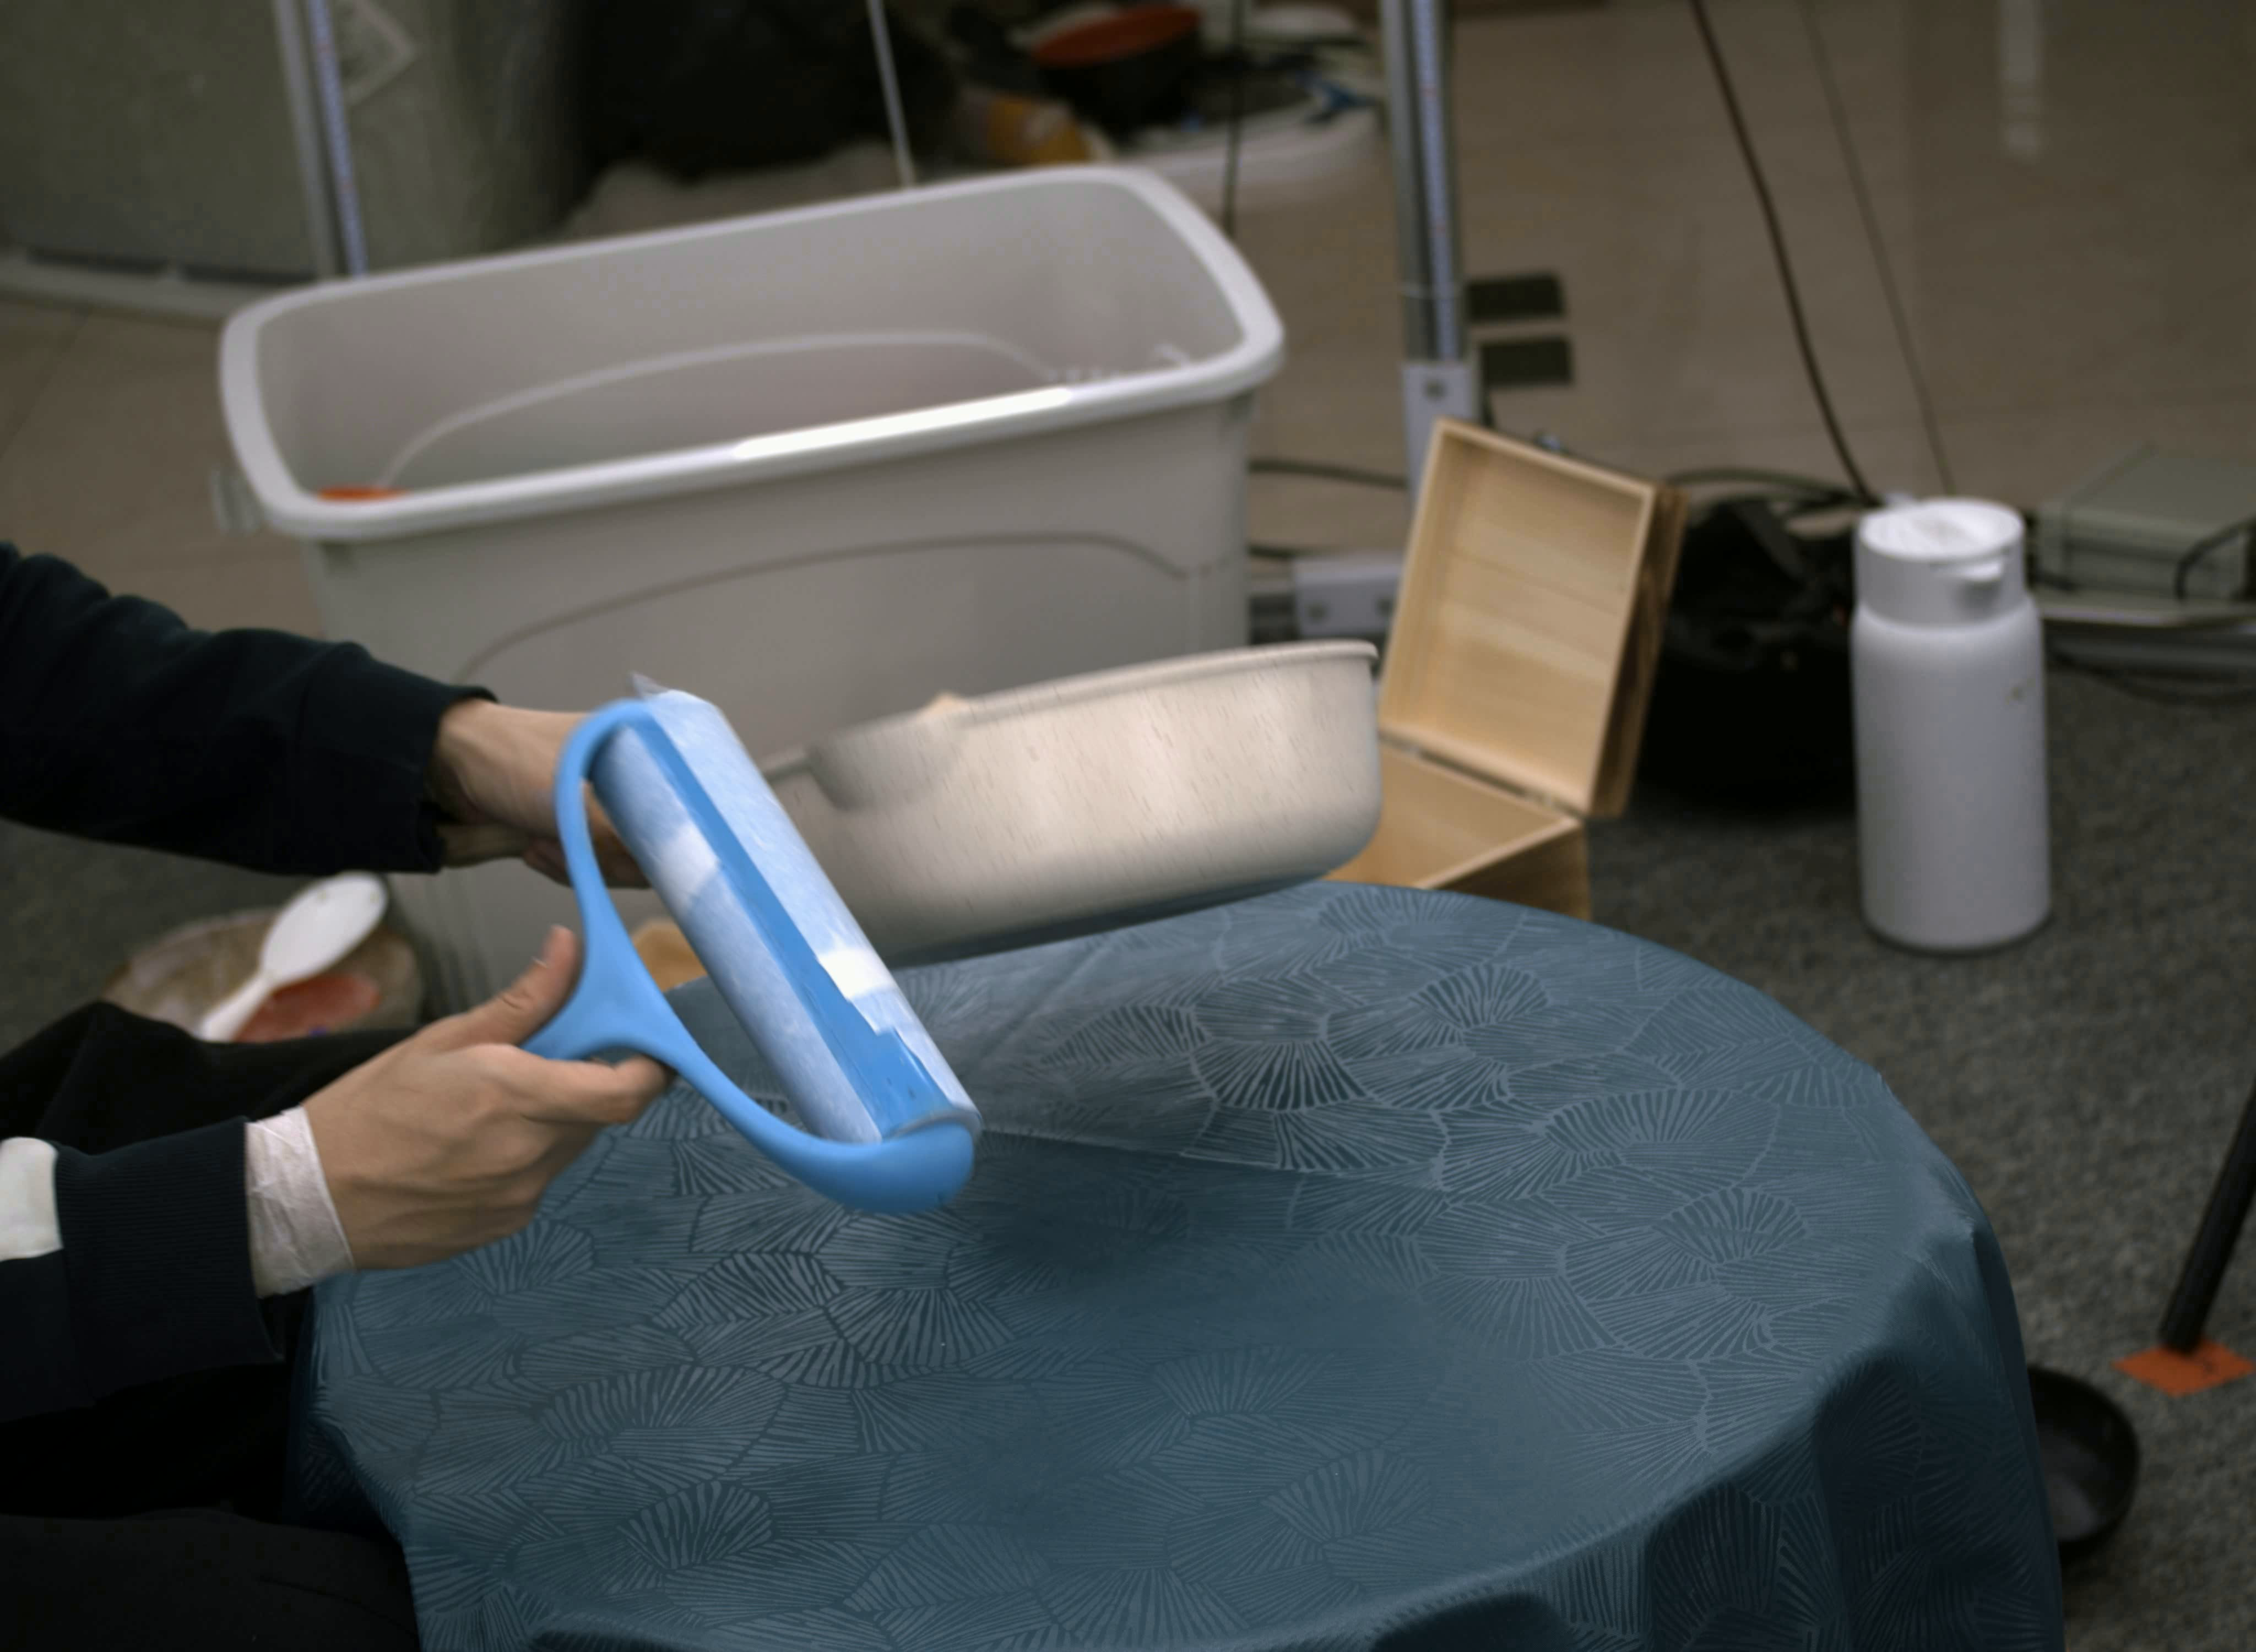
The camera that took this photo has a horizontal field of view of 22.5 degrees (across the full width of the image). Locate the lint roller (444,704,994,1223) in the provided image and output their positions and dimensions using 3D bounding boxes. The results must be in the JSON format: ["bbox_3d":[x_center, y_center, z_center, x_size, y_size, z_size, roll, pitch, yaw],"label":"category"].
[{"bbox_3d":[-0.166,0.077,1.976,0.180,0.069,0.226,-33,64,-5],"label":"lint roller"}]

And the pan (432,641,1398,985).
[{"bbox_3d":[-0.091,0.011,2.219,0.436,0.102,0.262,-14,-1,32],"label":"pan"}]
